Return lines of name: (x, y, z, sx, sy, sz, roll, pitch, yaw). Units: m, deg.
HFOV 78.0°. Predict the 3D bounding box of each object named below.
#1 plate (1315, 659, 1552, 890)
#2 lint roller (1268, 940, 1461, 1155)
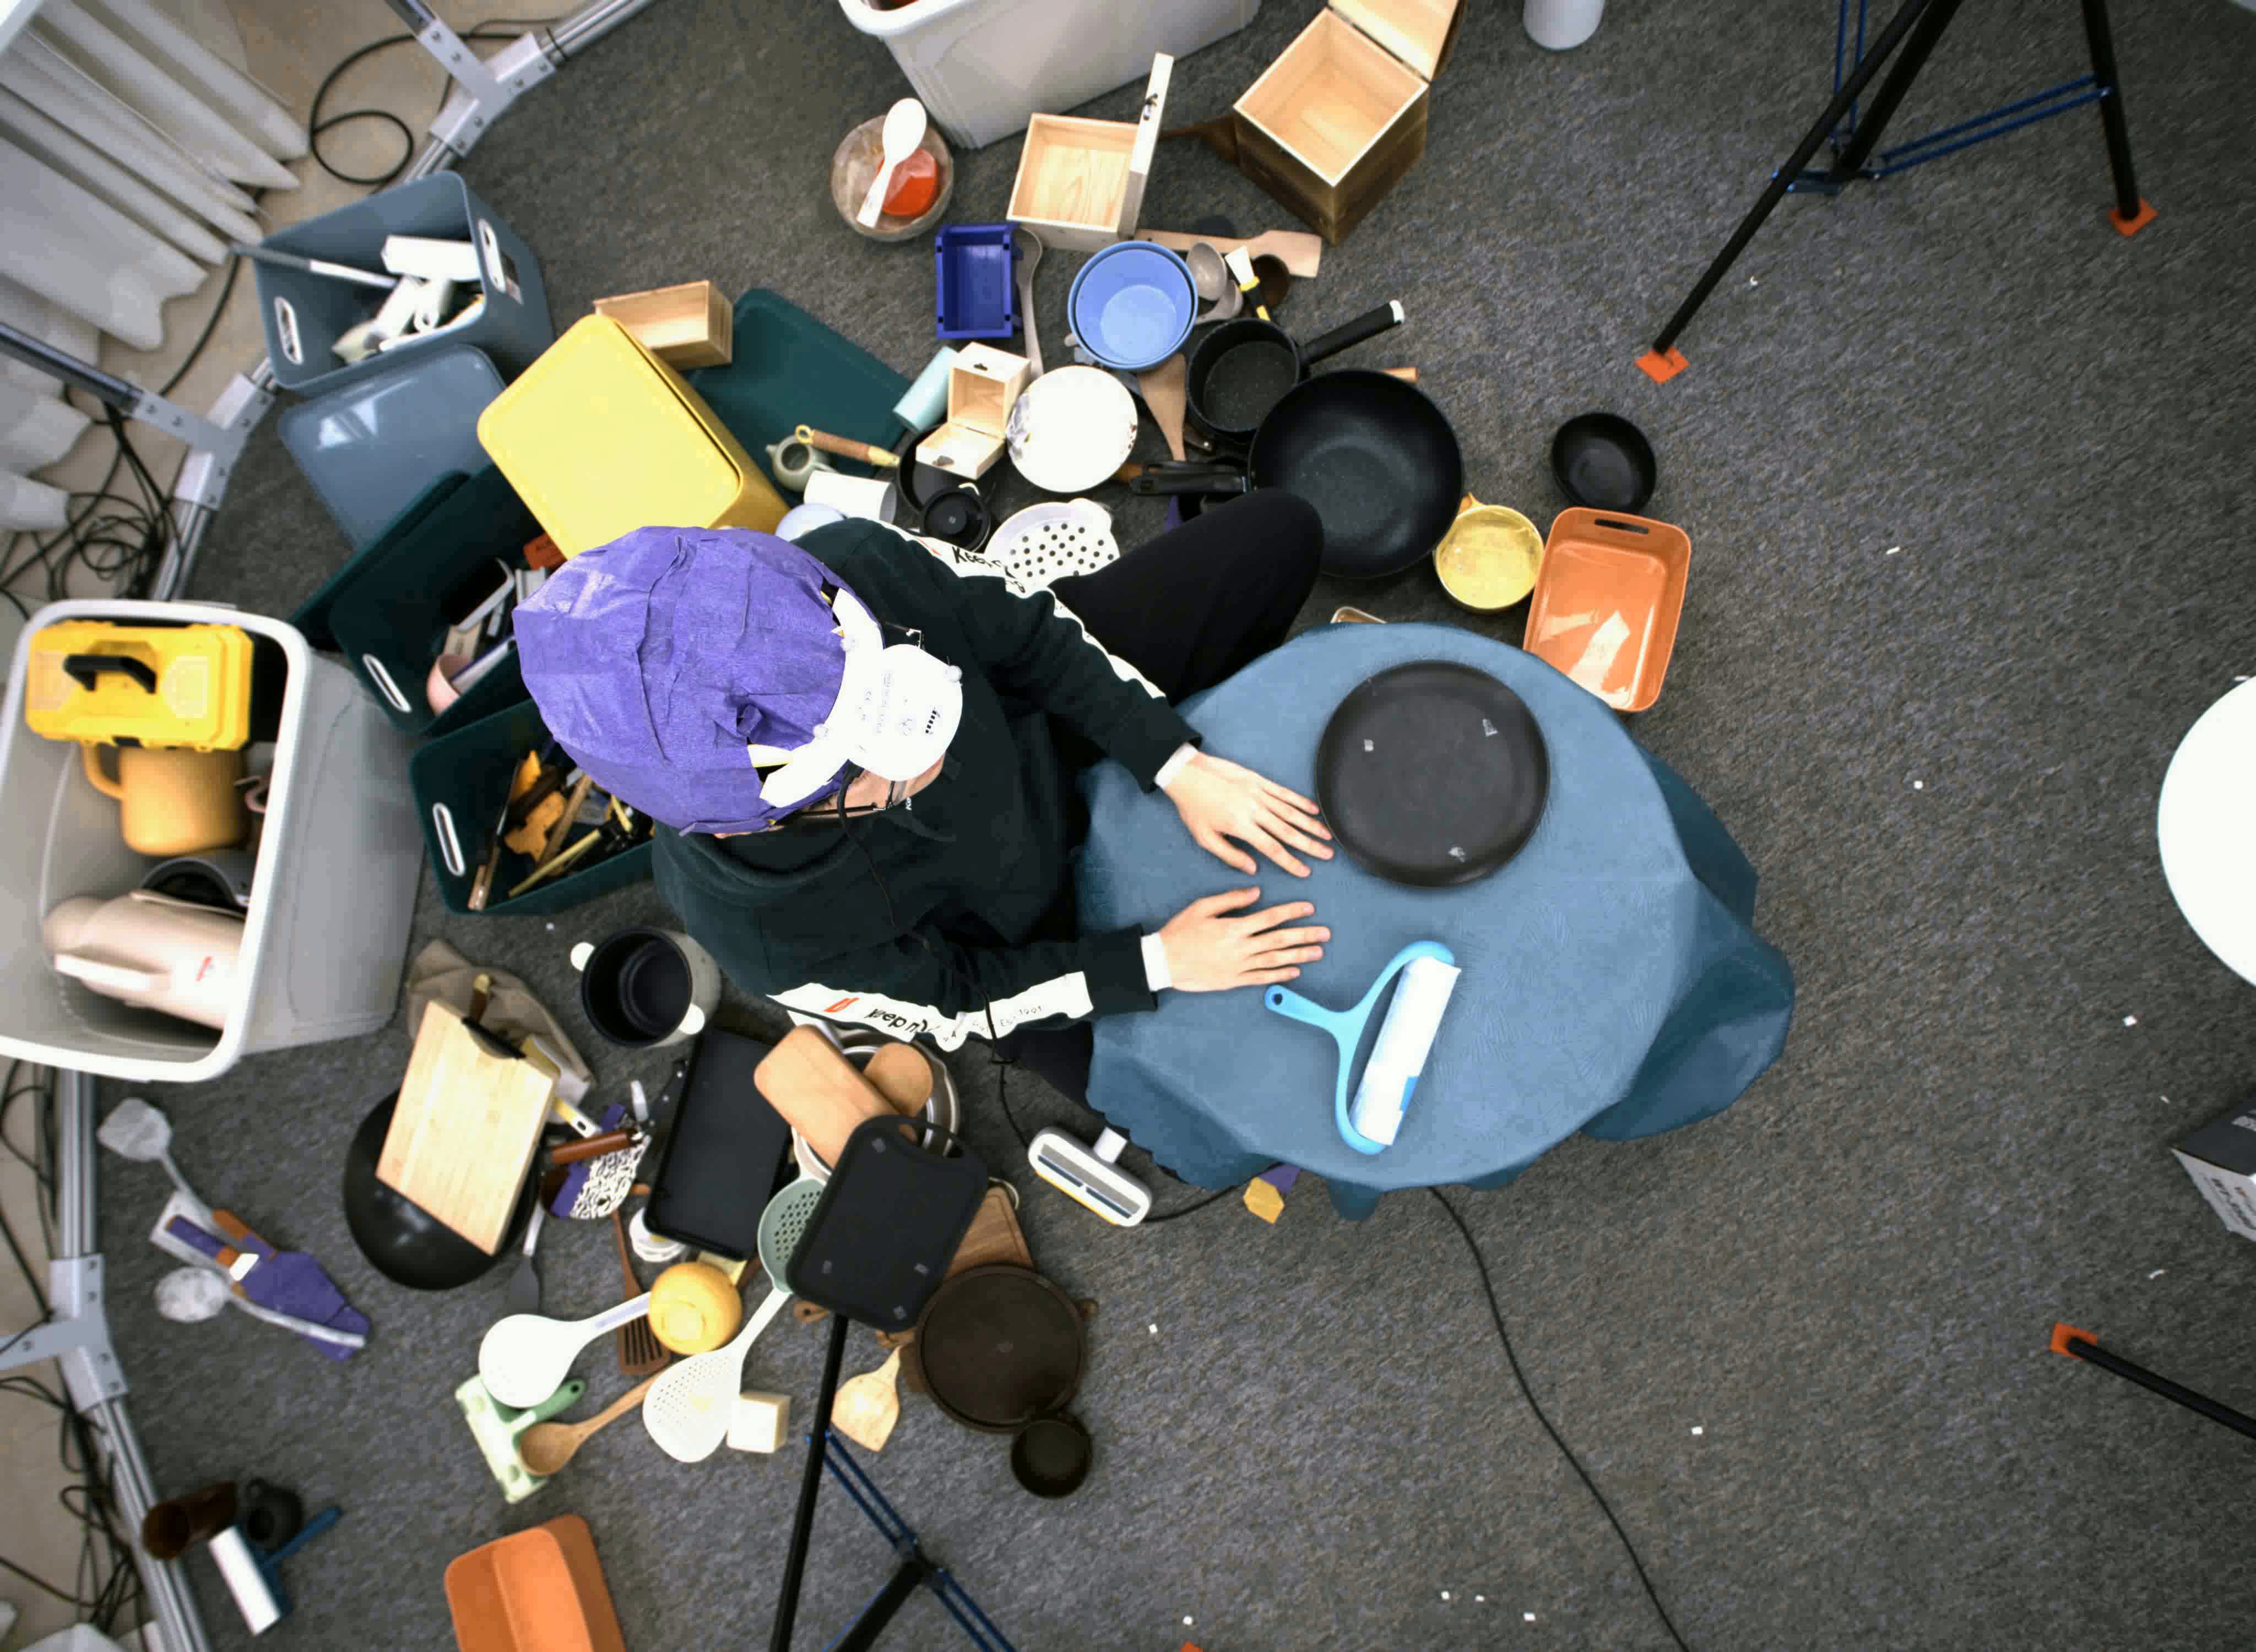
plate: (0.319, -0.055, 1.441, 0.245, 0.023, 0.243, -1, 87, 10)
lint roller: (0.228, 0.208, 1.428, 0.180, 0.068, 0.229, 18, 91, 11)
